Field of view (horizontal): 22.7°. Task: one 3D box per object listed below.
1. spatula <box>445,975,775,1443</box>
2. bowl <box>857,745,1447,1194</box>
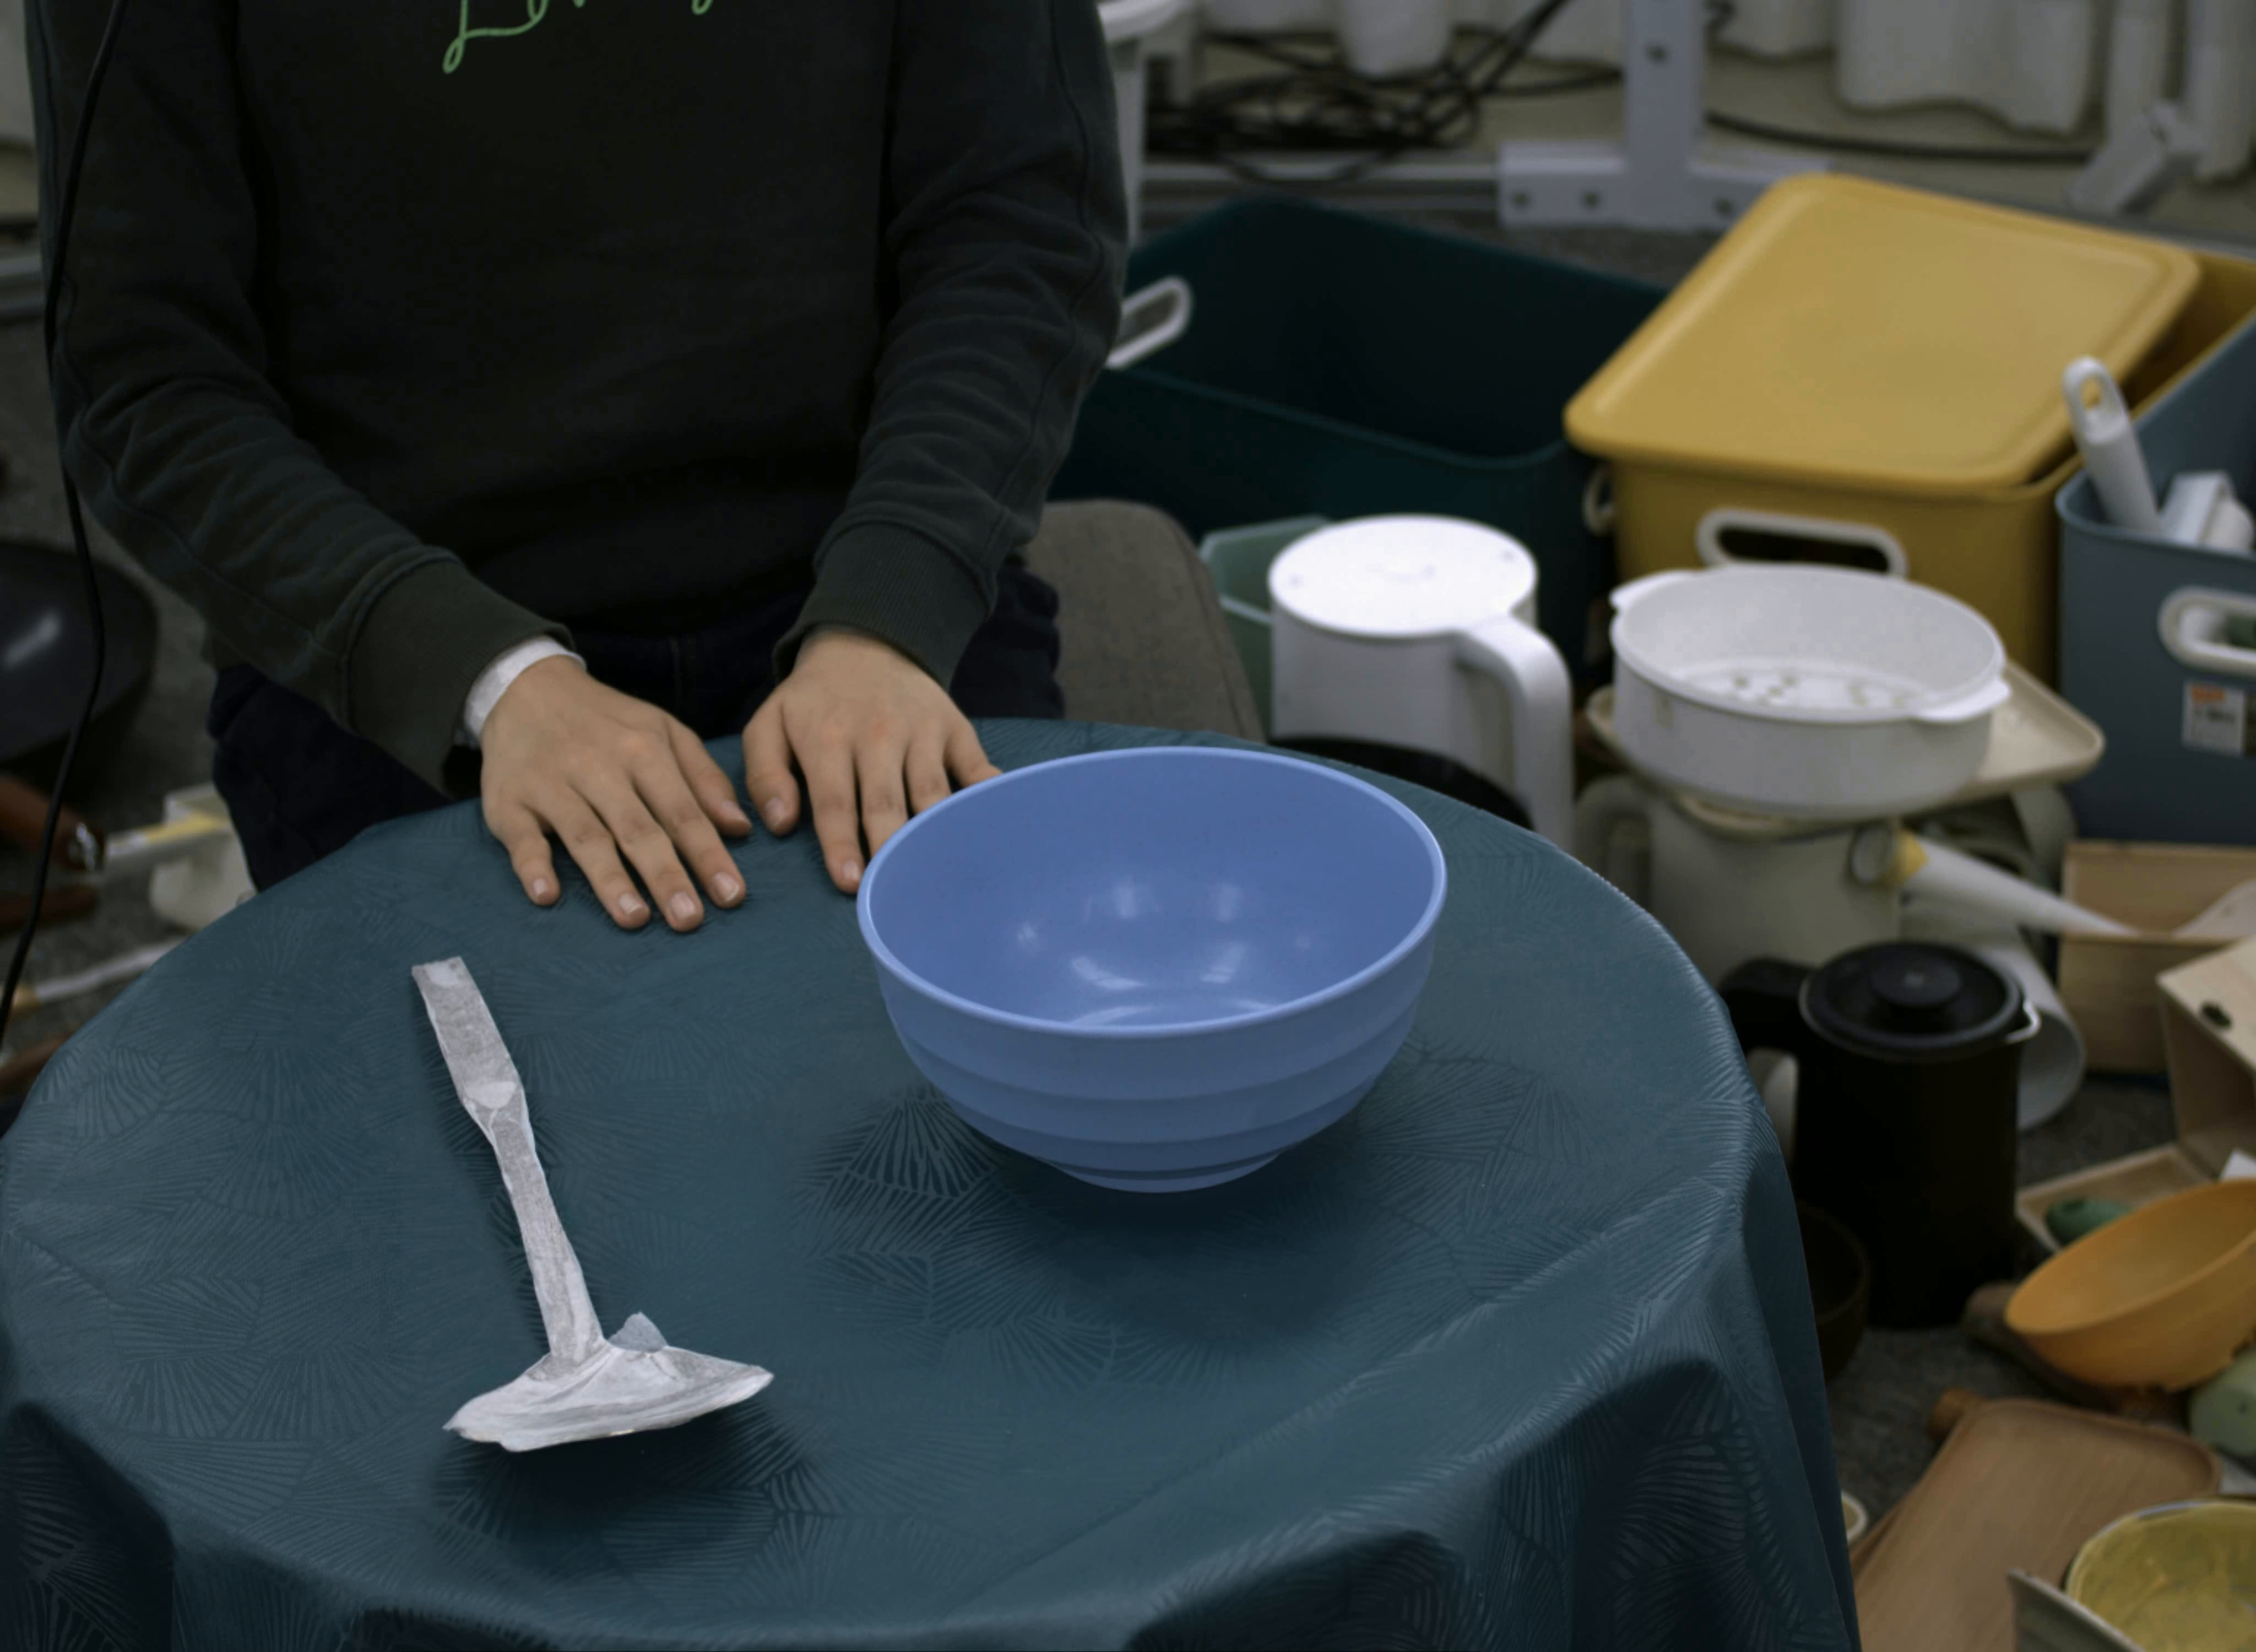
[{"bbox_3d":[-0.193,0.118,1.846,0.098,0.044,0.369,-11,28,-11],"label":"spatula"},{"bbox_3d":[0.011,0.059,1.878,0.195,0.094,0.199,-3,28,2],"label":"bowl"}]
